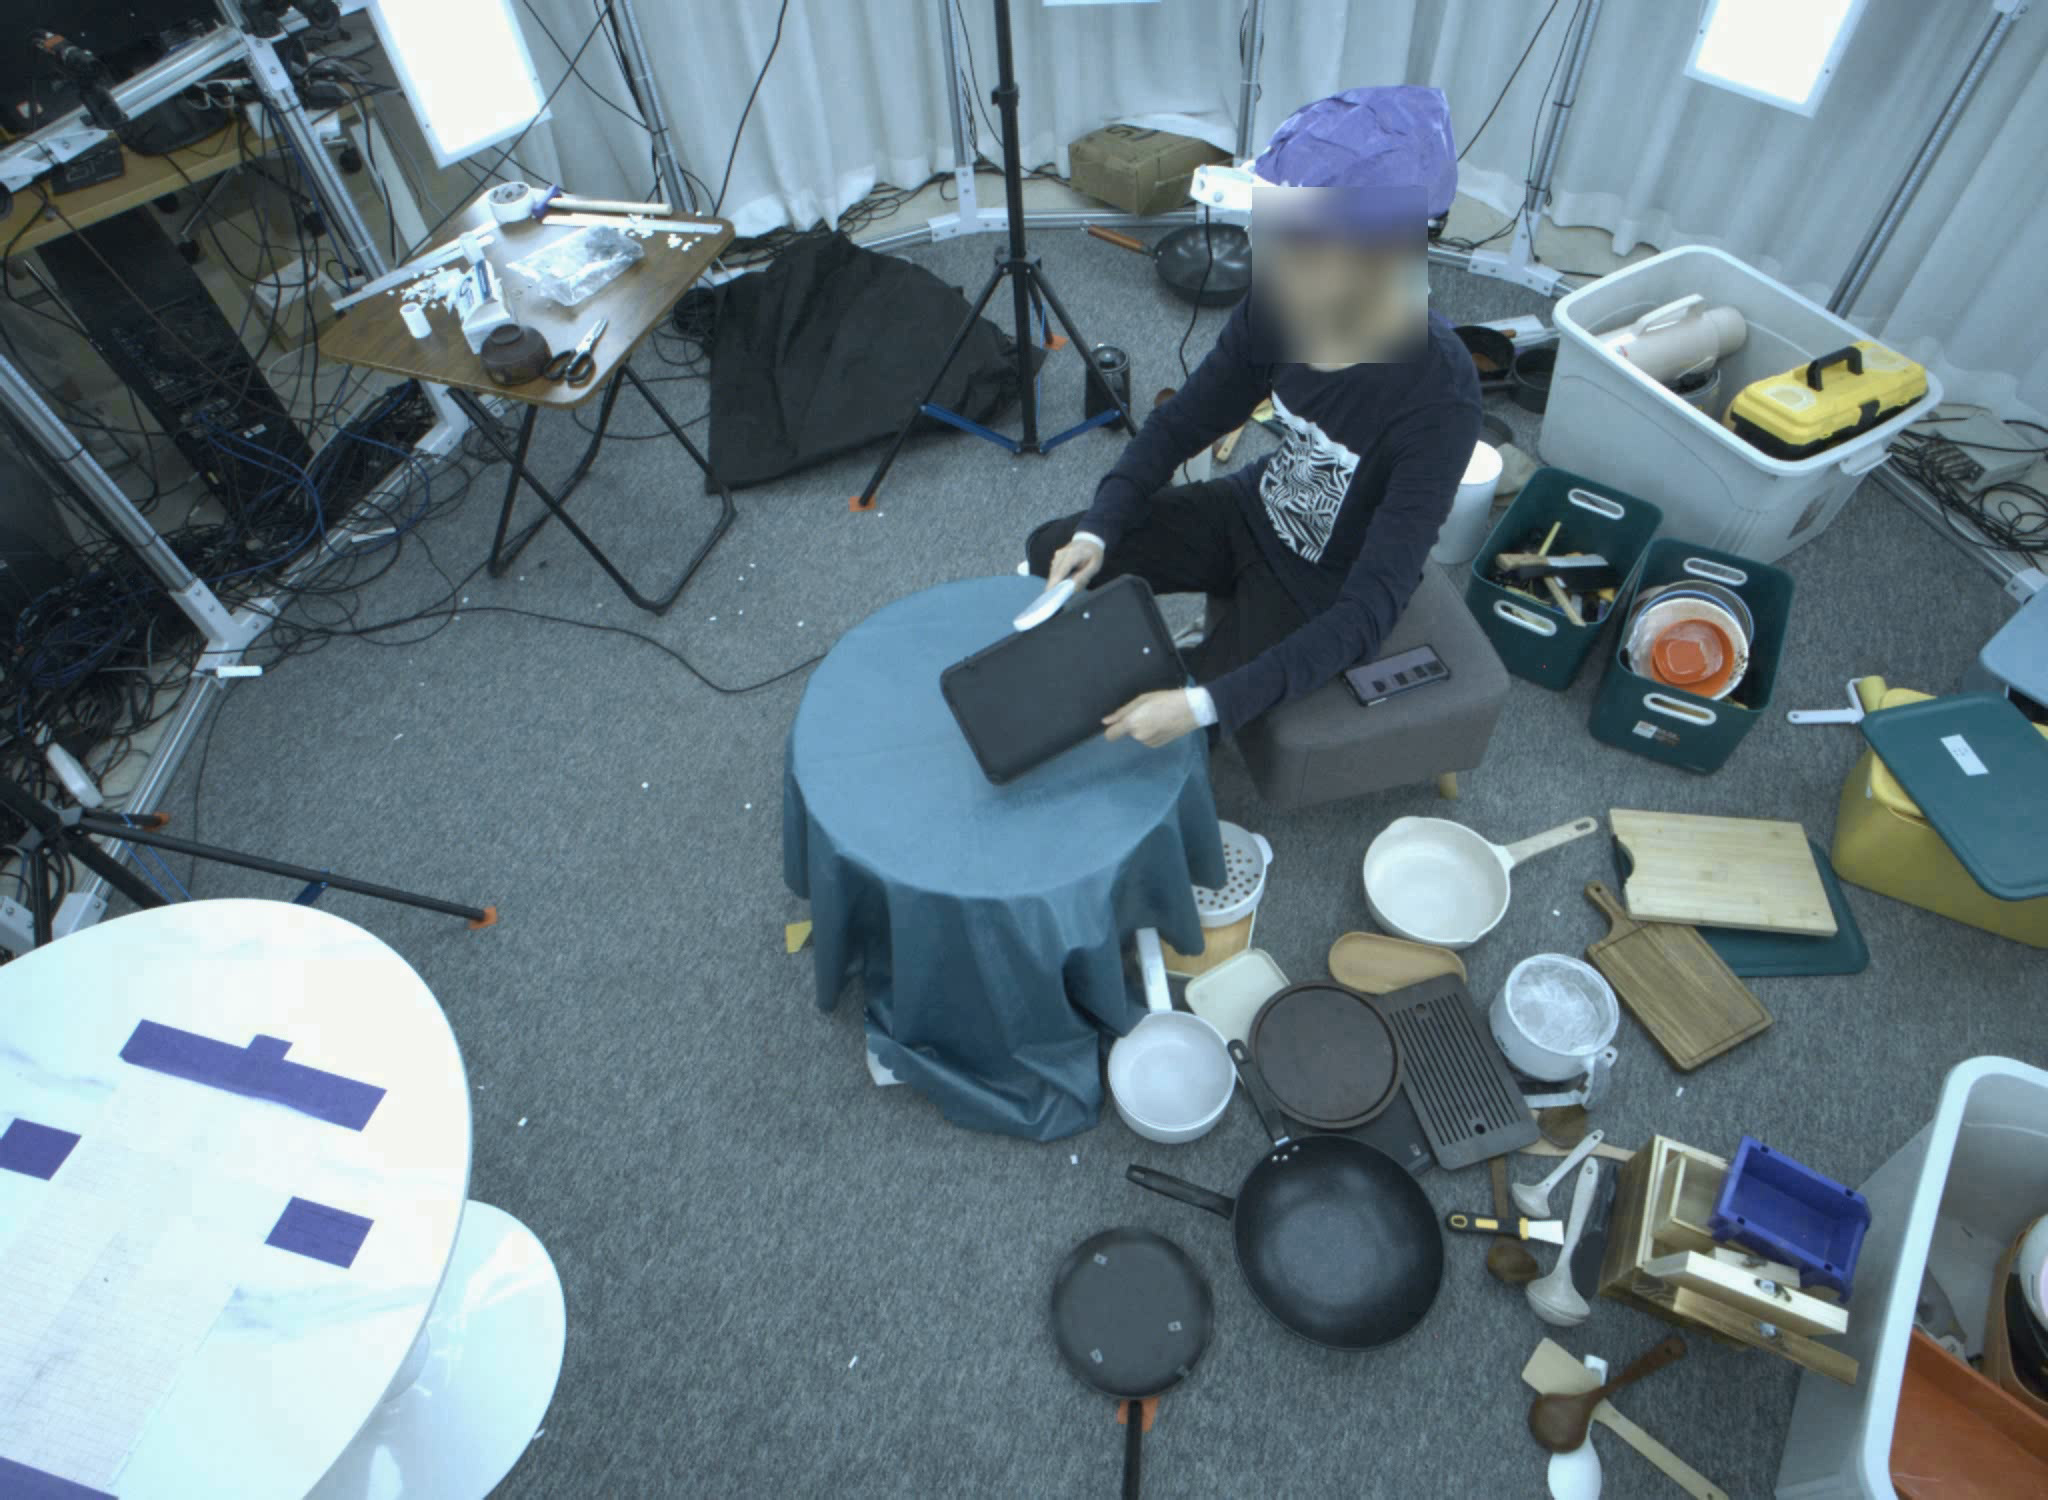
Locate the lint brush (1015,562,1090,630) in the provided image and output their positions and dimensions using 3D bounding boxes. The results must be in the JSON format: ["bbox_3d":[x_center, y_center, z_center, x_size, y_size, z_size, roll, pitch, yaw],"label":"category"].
[{"bbox_3d":[0.049,-0.227,1.759,0.059,0.021,0.309,-29,11,25],"label":"lint brush"}]

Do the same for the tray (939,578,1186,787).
[{"bbox_3d":[0.054,-0.094,1.702,0.319,0.187,0.036,-27,23,-5],"label":"tray"}]
